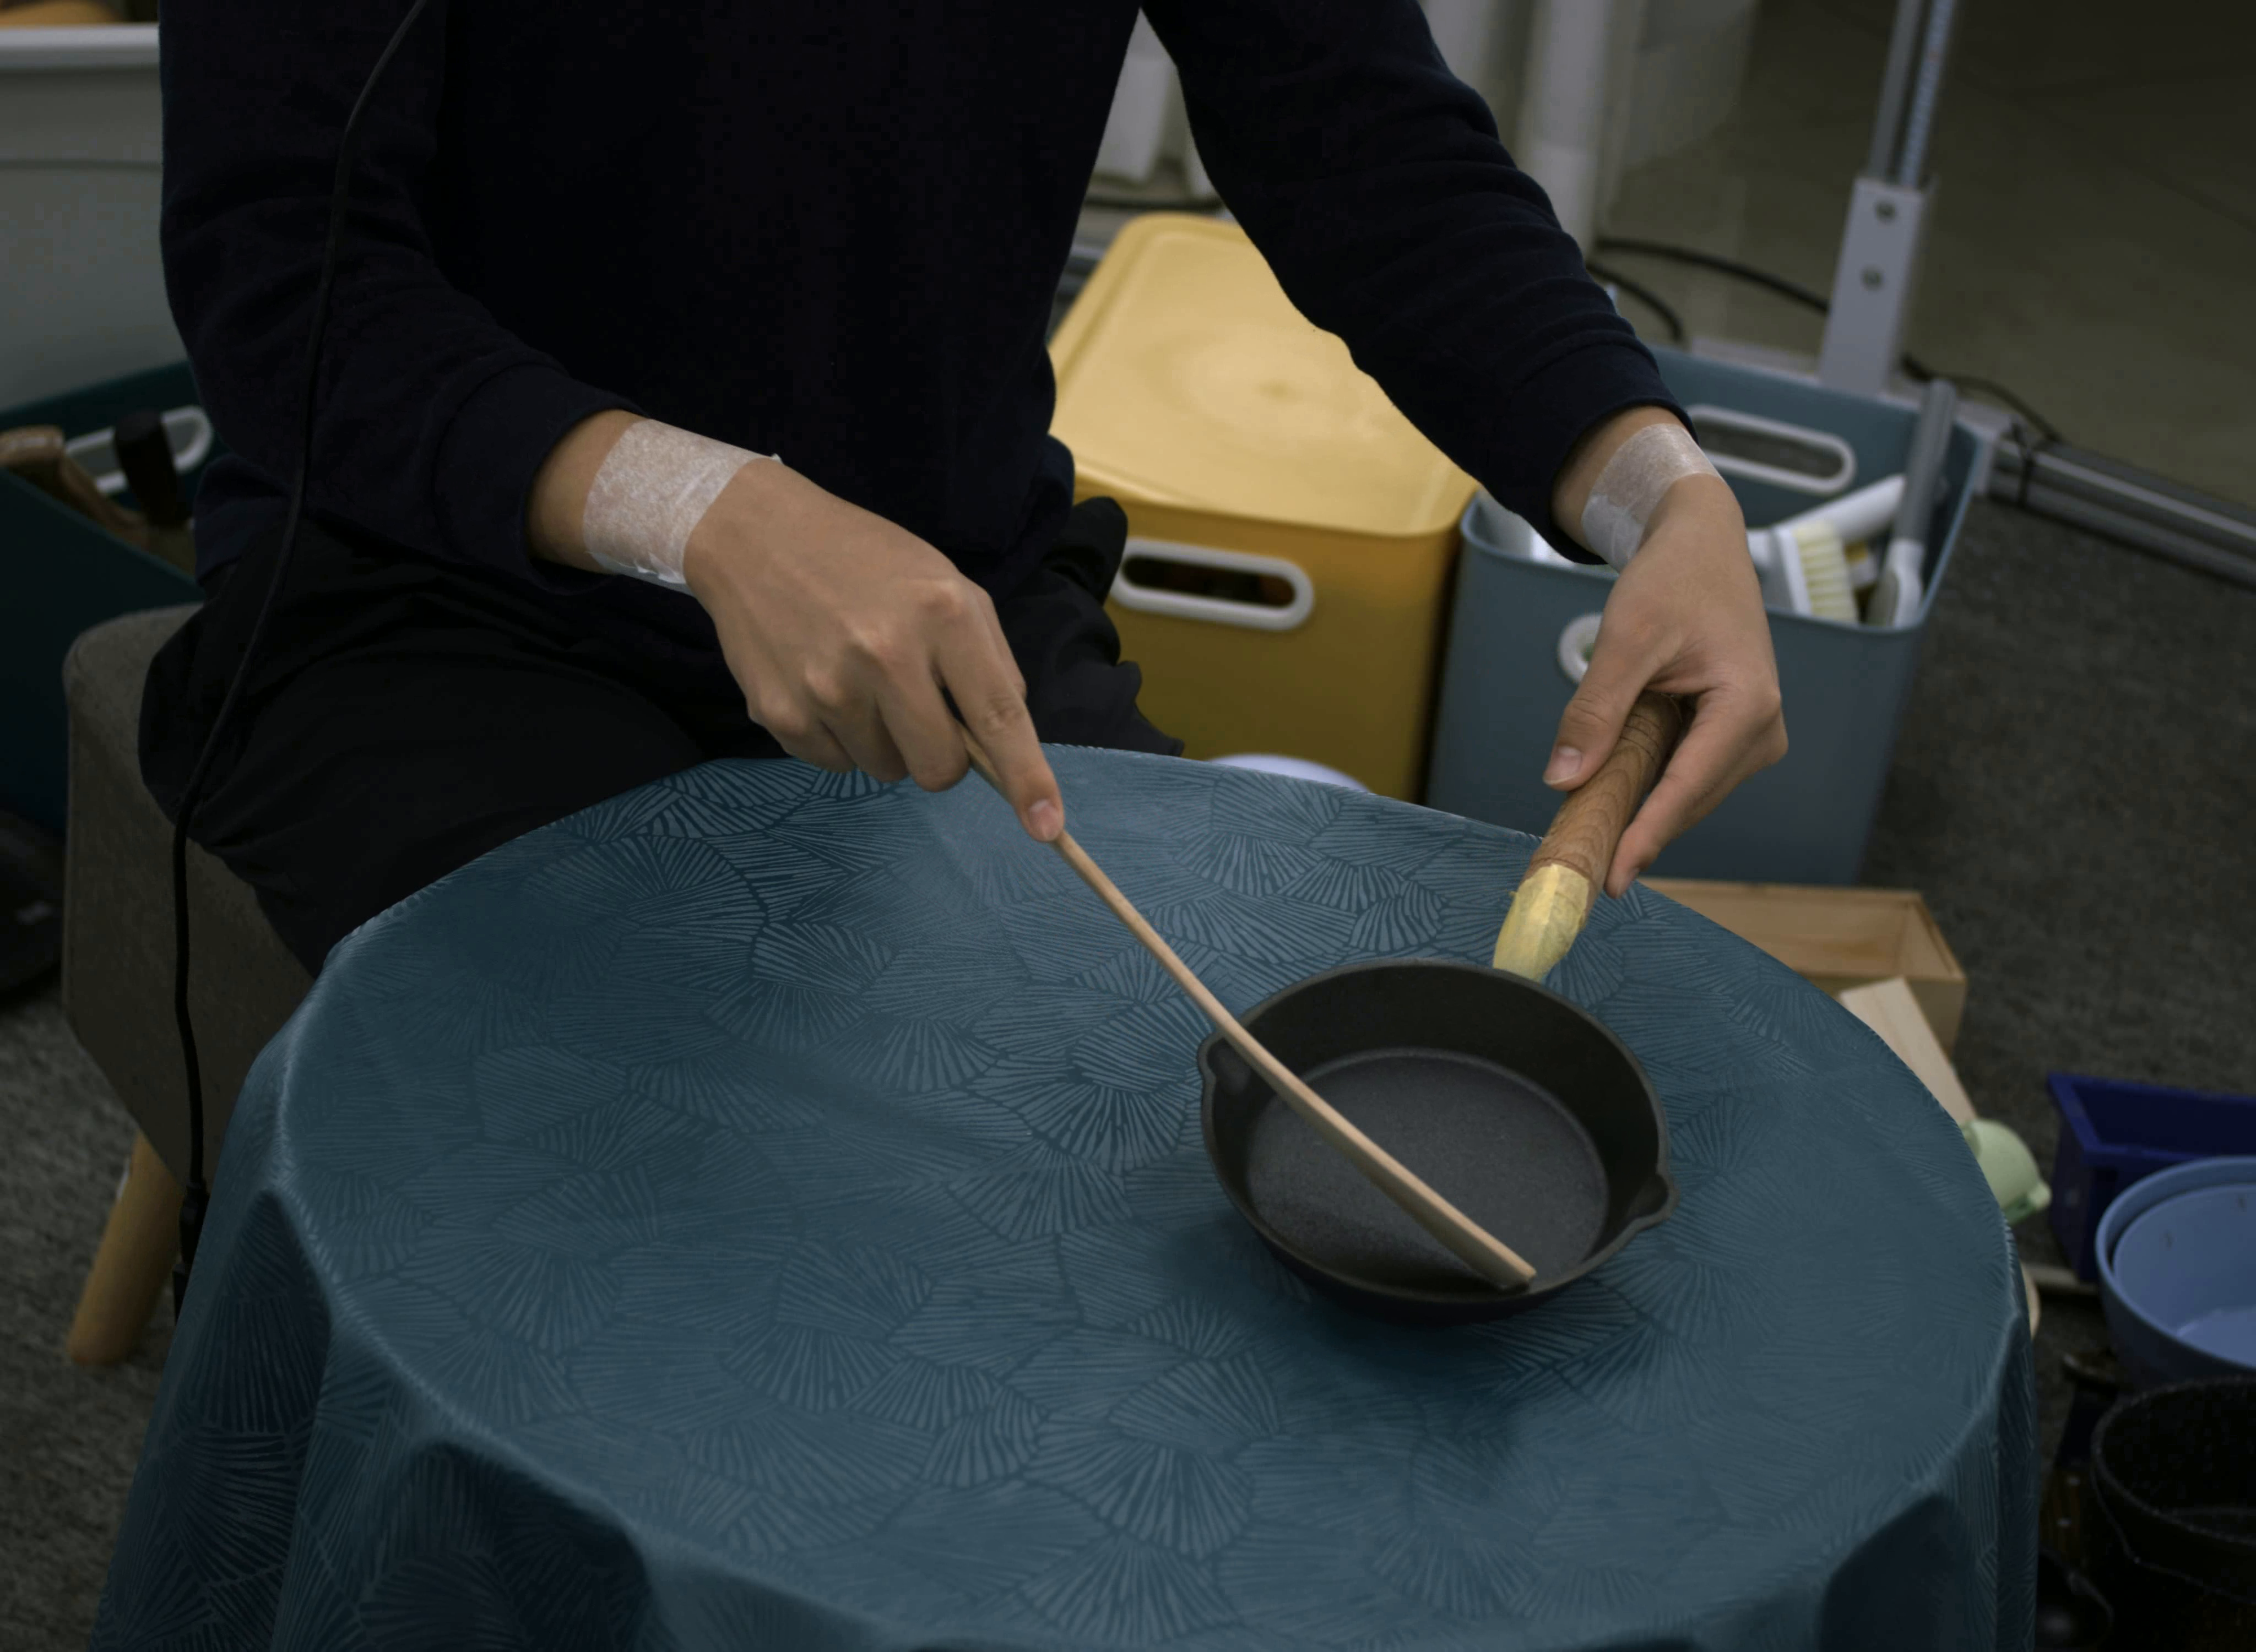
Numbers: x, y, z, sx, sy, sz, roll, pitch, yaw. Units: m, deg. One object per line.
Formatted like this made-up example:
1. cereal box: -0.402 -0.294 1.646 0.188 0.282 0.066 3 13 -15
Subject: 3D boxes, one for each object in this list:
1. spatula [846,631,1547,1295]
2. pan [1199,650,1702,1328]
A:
1. spatula: 0.020 0.045 1.762 0.016 0.079 0.329 -43 74 -6
2. pan: 0.136 0.052 1.832 0.169 0.049 0.325 20 47 15
